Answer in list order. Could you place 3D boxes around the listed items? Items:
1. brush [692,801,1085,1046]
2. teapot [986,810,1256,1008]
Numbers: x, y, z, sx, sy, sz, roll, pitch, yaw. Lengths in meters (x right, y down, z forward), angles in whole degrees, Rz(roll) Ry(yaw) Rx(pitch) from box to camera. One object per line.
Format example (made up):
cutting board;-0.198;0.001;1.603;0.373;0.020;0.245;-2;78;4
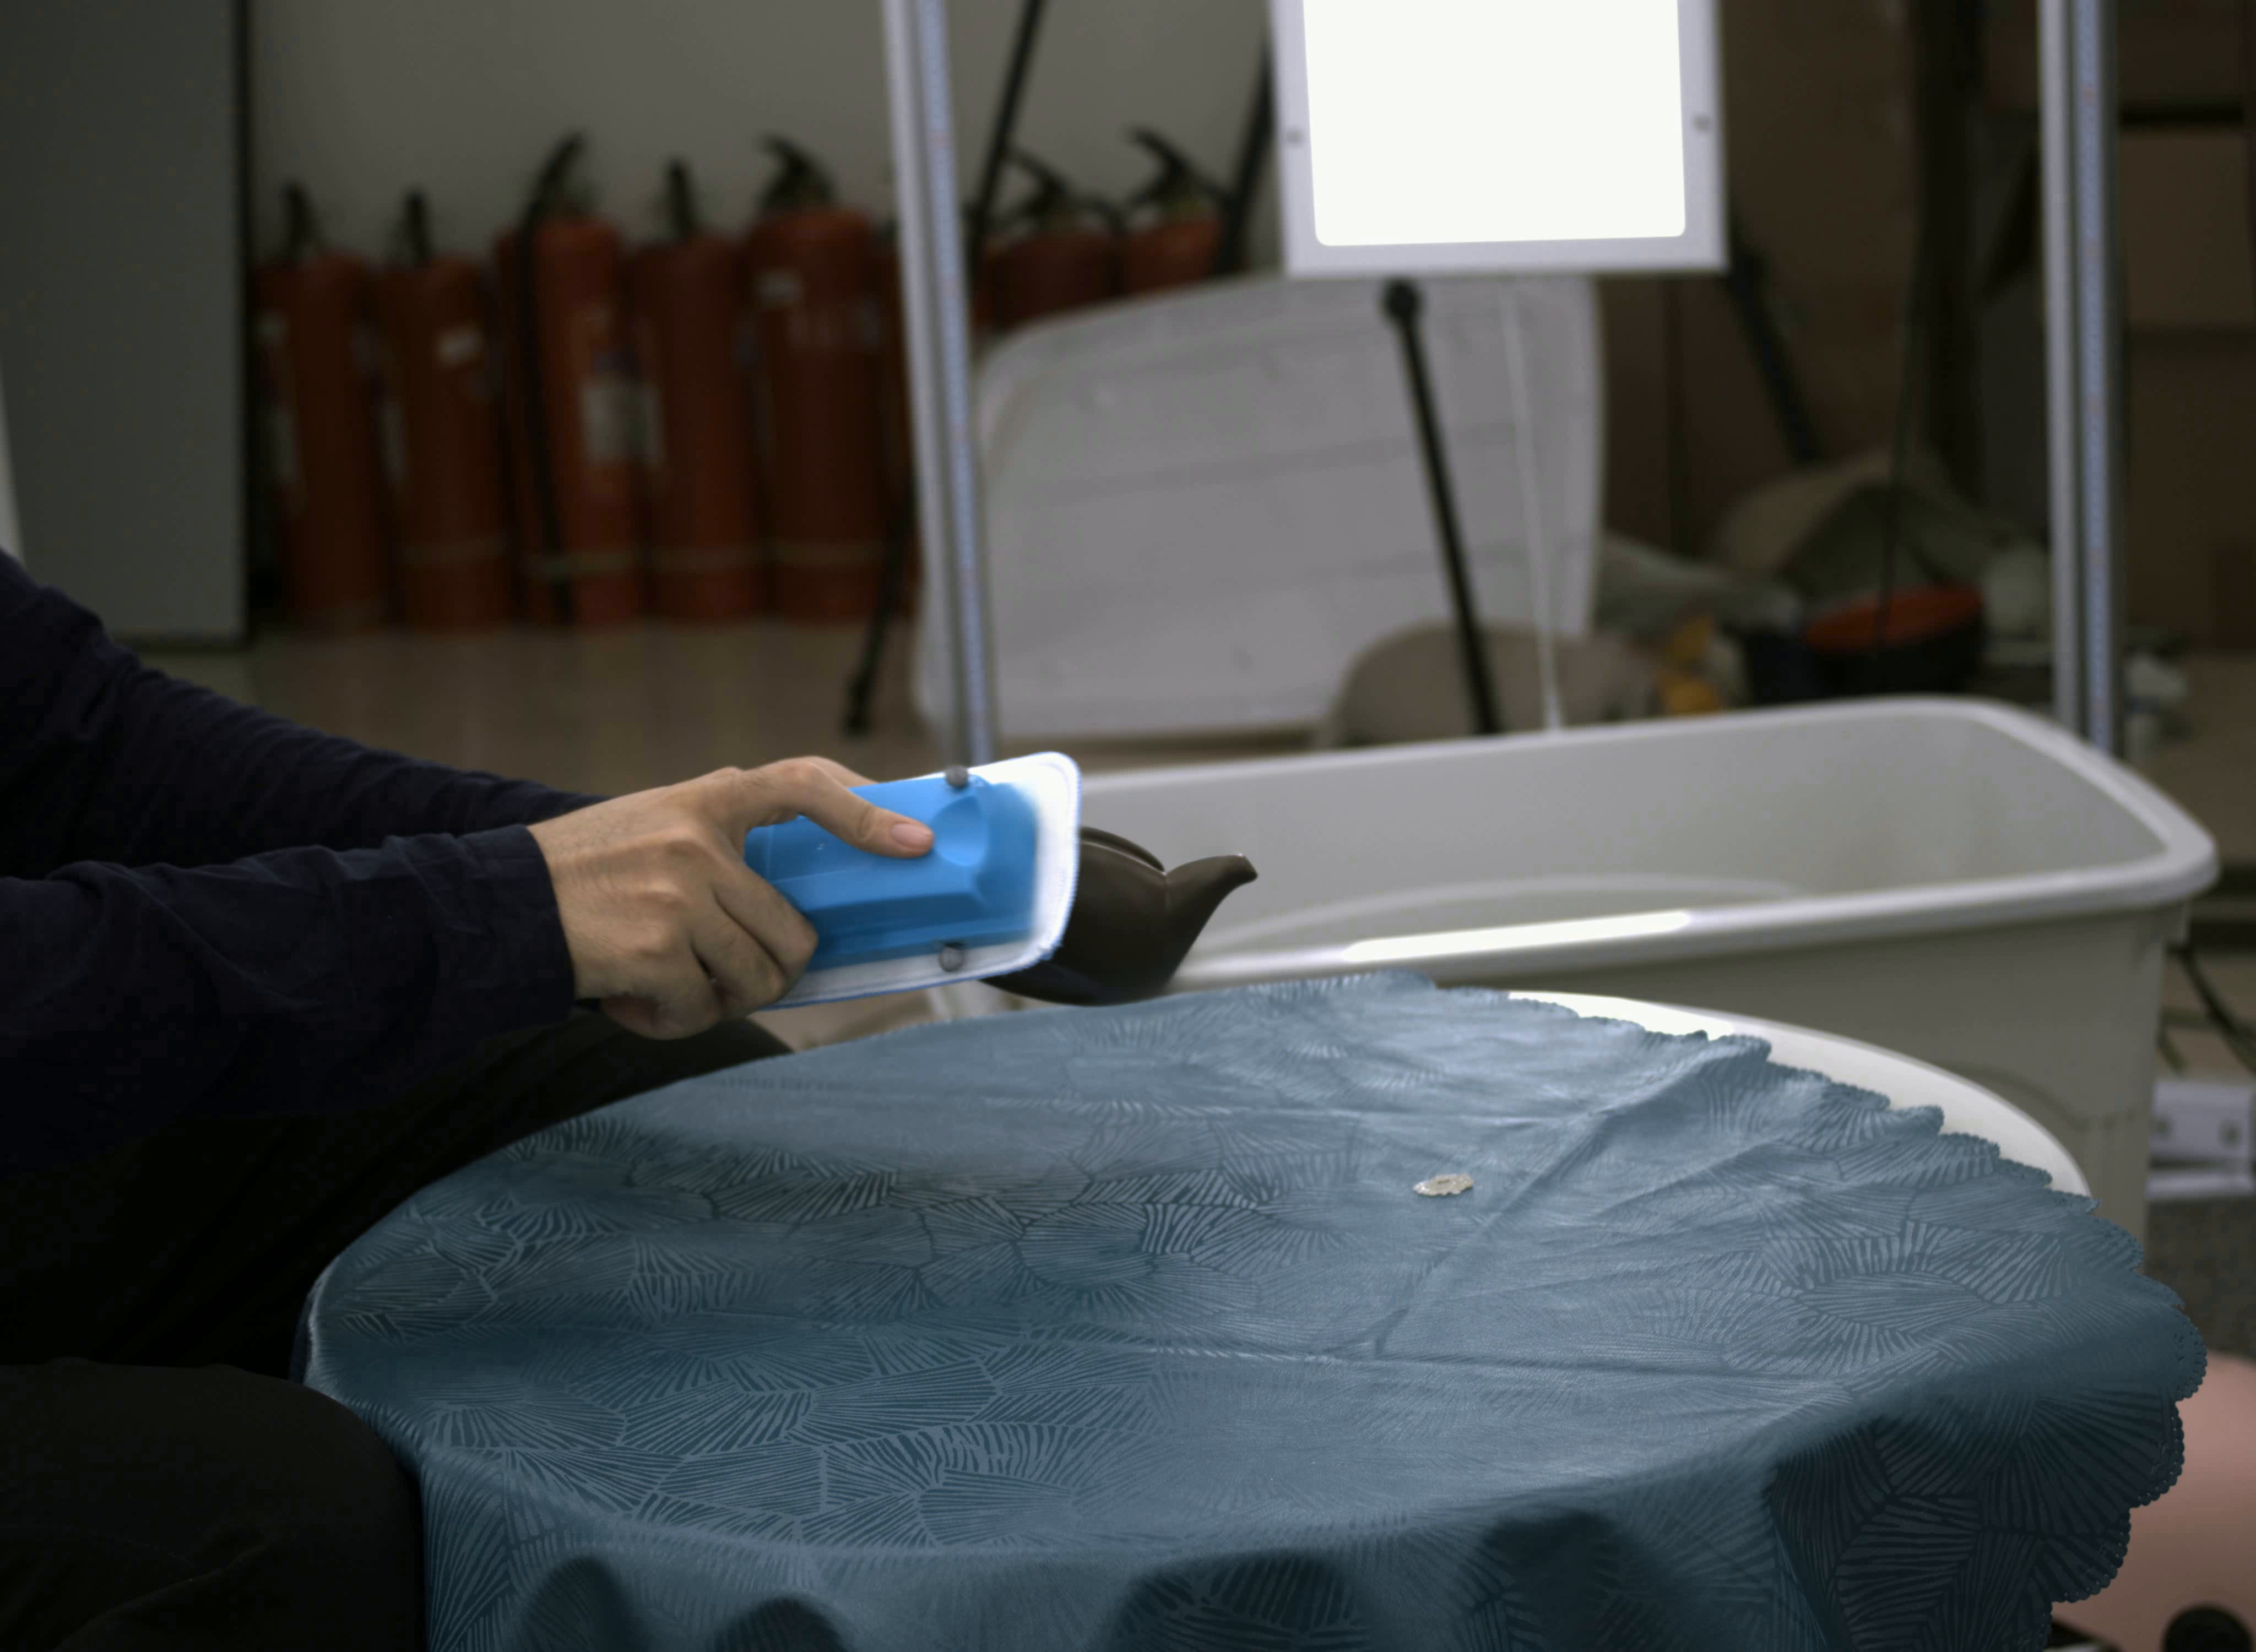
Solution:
brush;-0.087;0.026;1.853;0.147;0.055;0.083;-7;56;30
teapot;-0.032;0.027;1.894;0.155;0.053;0.101;9;-18;21
